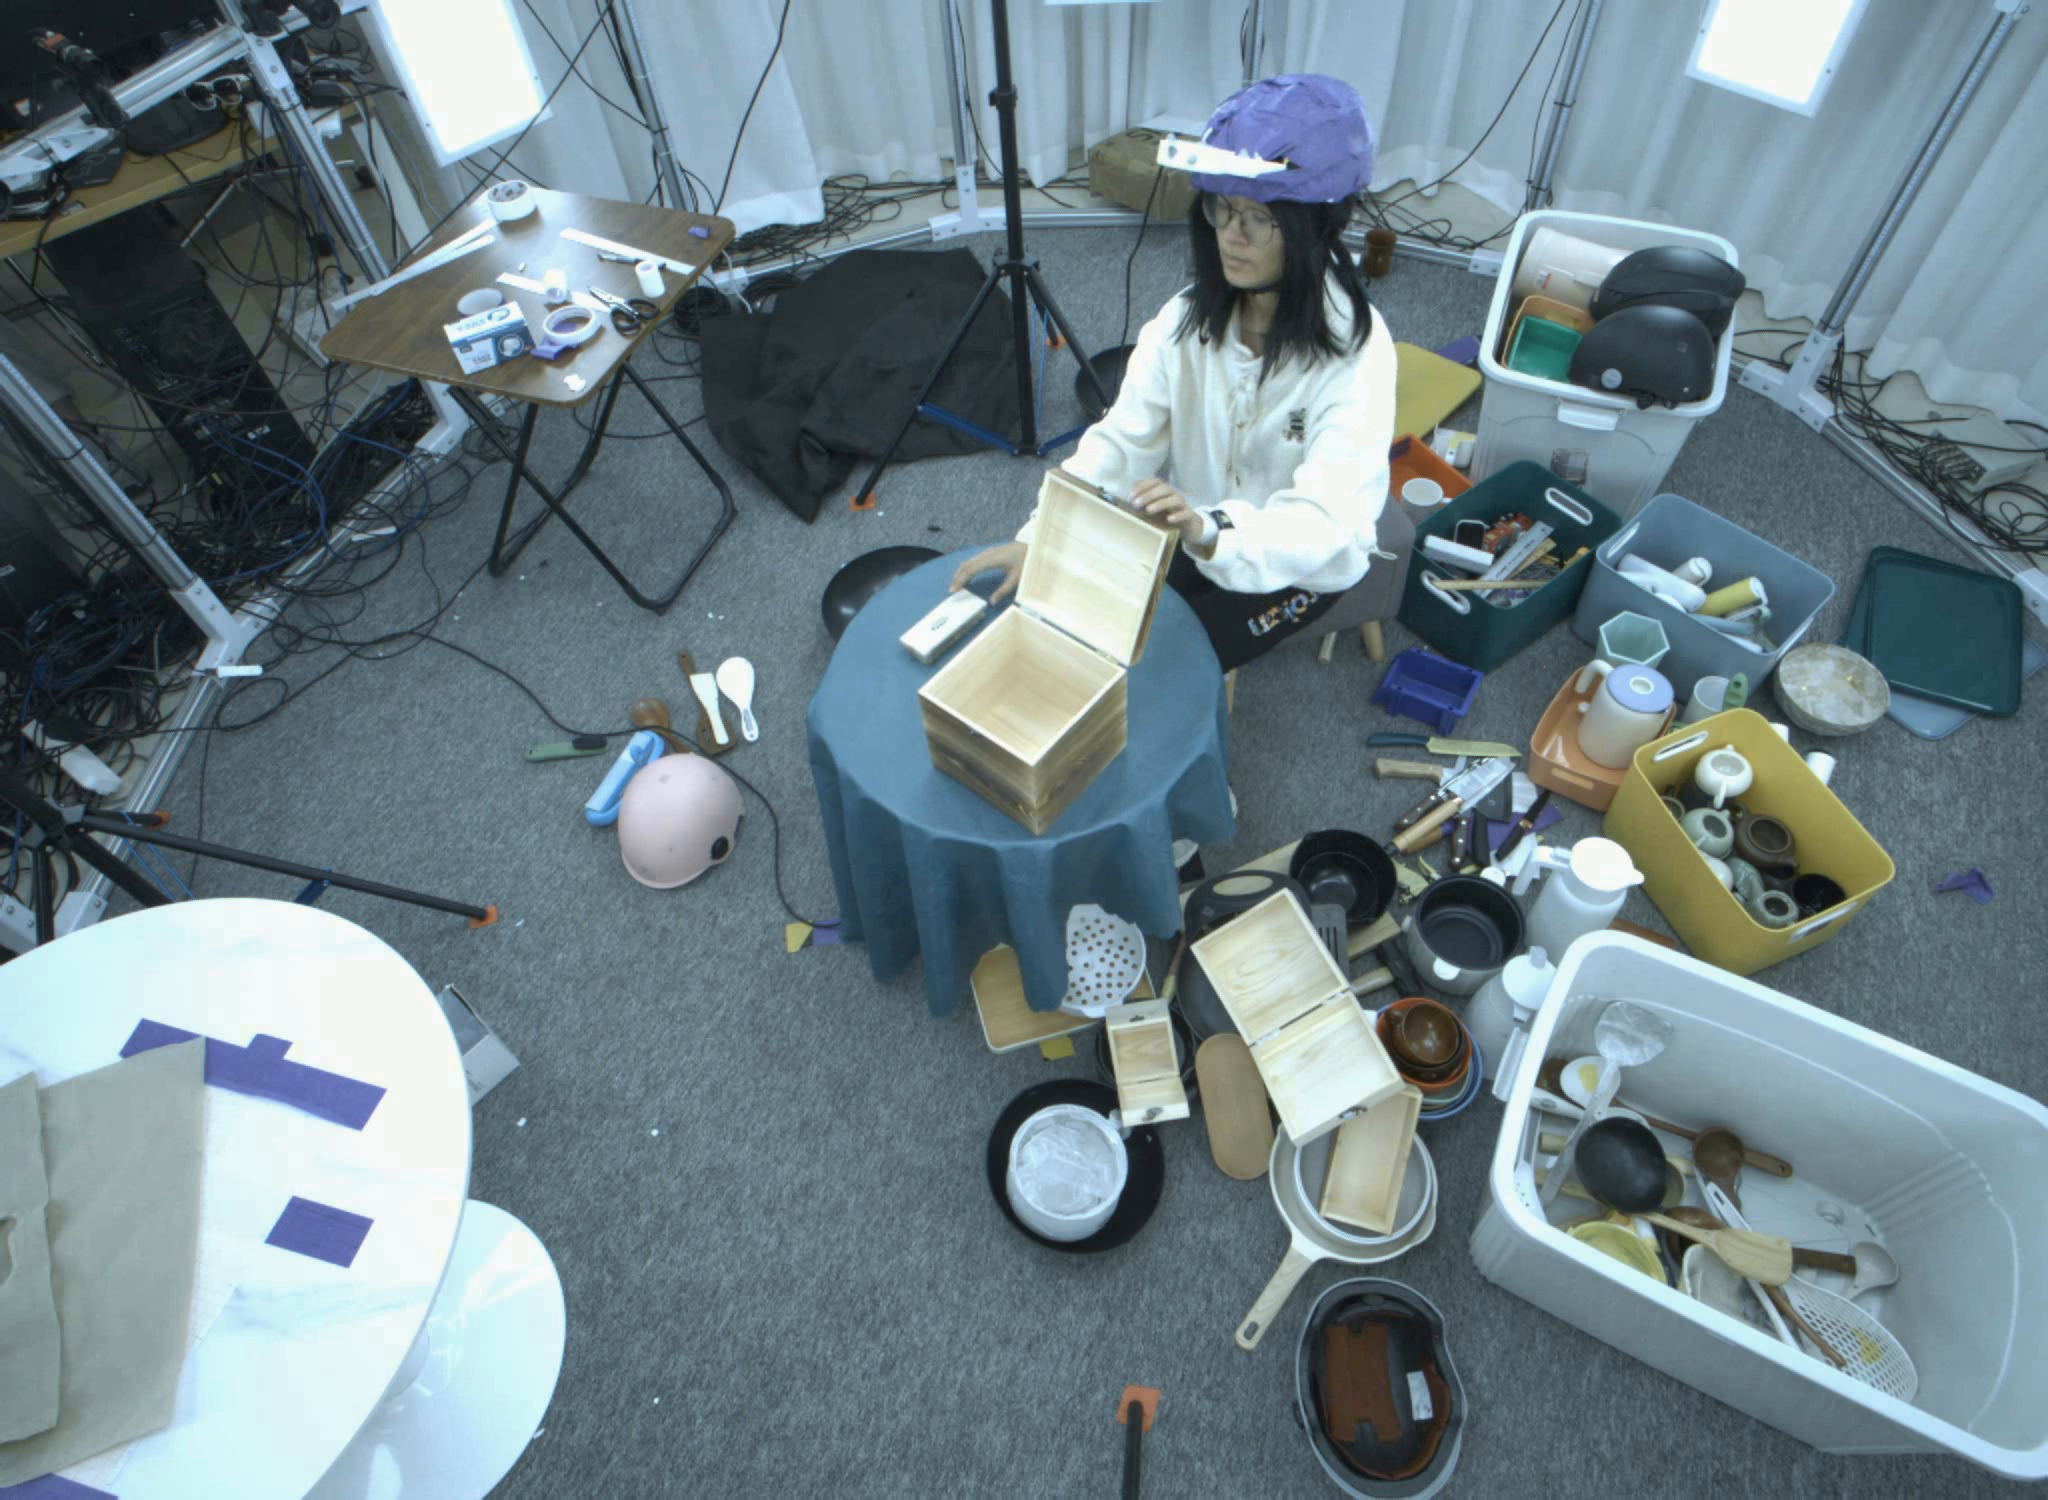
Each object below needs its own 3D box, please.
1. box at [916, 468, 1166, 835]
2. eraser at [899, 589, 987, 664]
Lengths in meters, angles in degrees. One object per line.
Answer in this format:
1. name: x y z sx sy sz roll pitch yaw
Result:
1. box: 0.026 -0.133 1.657 0.205 0.380 0.324 31 62 24
2. eraser: -0.125 -0.194 1.911 0.056 0.029 0.140 35 62 27
